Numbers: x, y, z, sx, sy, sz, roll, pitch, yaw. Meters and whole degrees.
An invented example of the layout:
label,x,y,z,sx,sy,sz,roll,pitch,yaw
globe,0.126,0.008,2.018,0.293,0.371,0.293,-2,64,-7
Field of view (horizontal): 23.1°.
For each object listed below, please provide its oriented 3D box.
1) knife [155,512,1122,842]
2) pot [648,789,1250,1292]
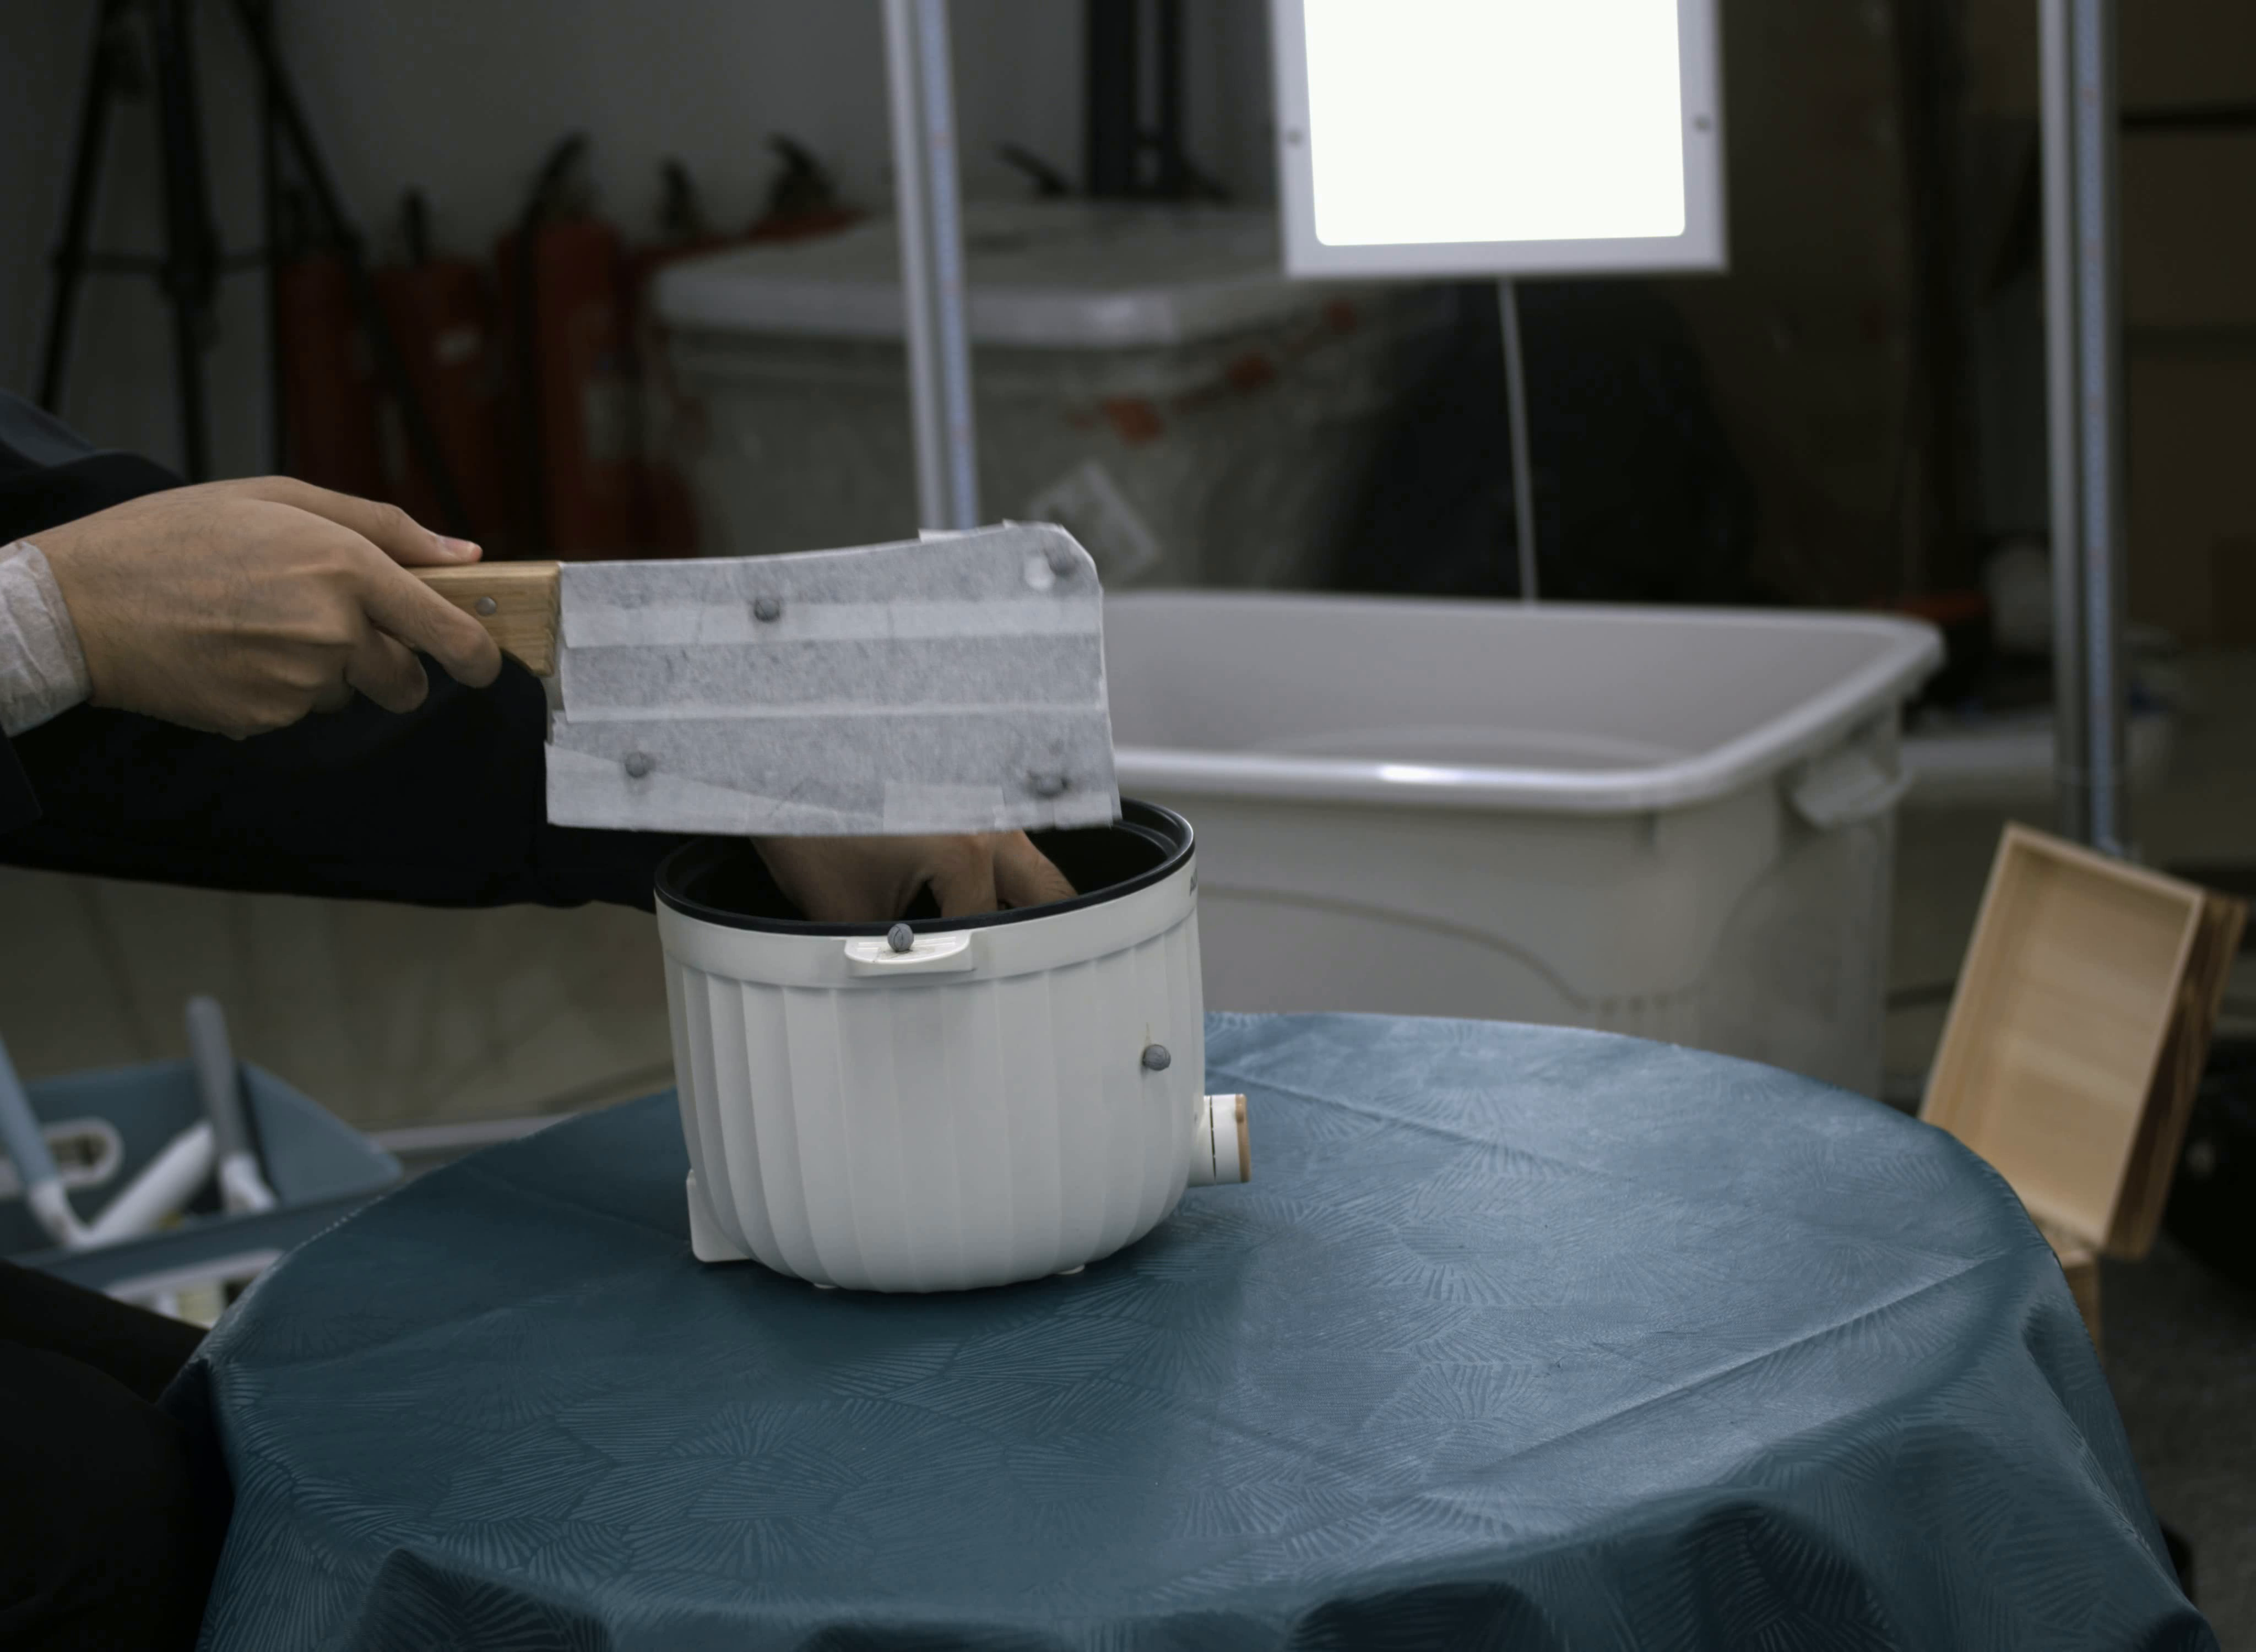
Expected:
label,x,y,z,sx,sy,sz,roll,pitch,yaw
knife,-0.157,-0.051,1.779,0.315,0.114,0.021,3,9,3
pot,-0.059,0.072,1.848,0.191,0.143,0.239,-7,15,4
